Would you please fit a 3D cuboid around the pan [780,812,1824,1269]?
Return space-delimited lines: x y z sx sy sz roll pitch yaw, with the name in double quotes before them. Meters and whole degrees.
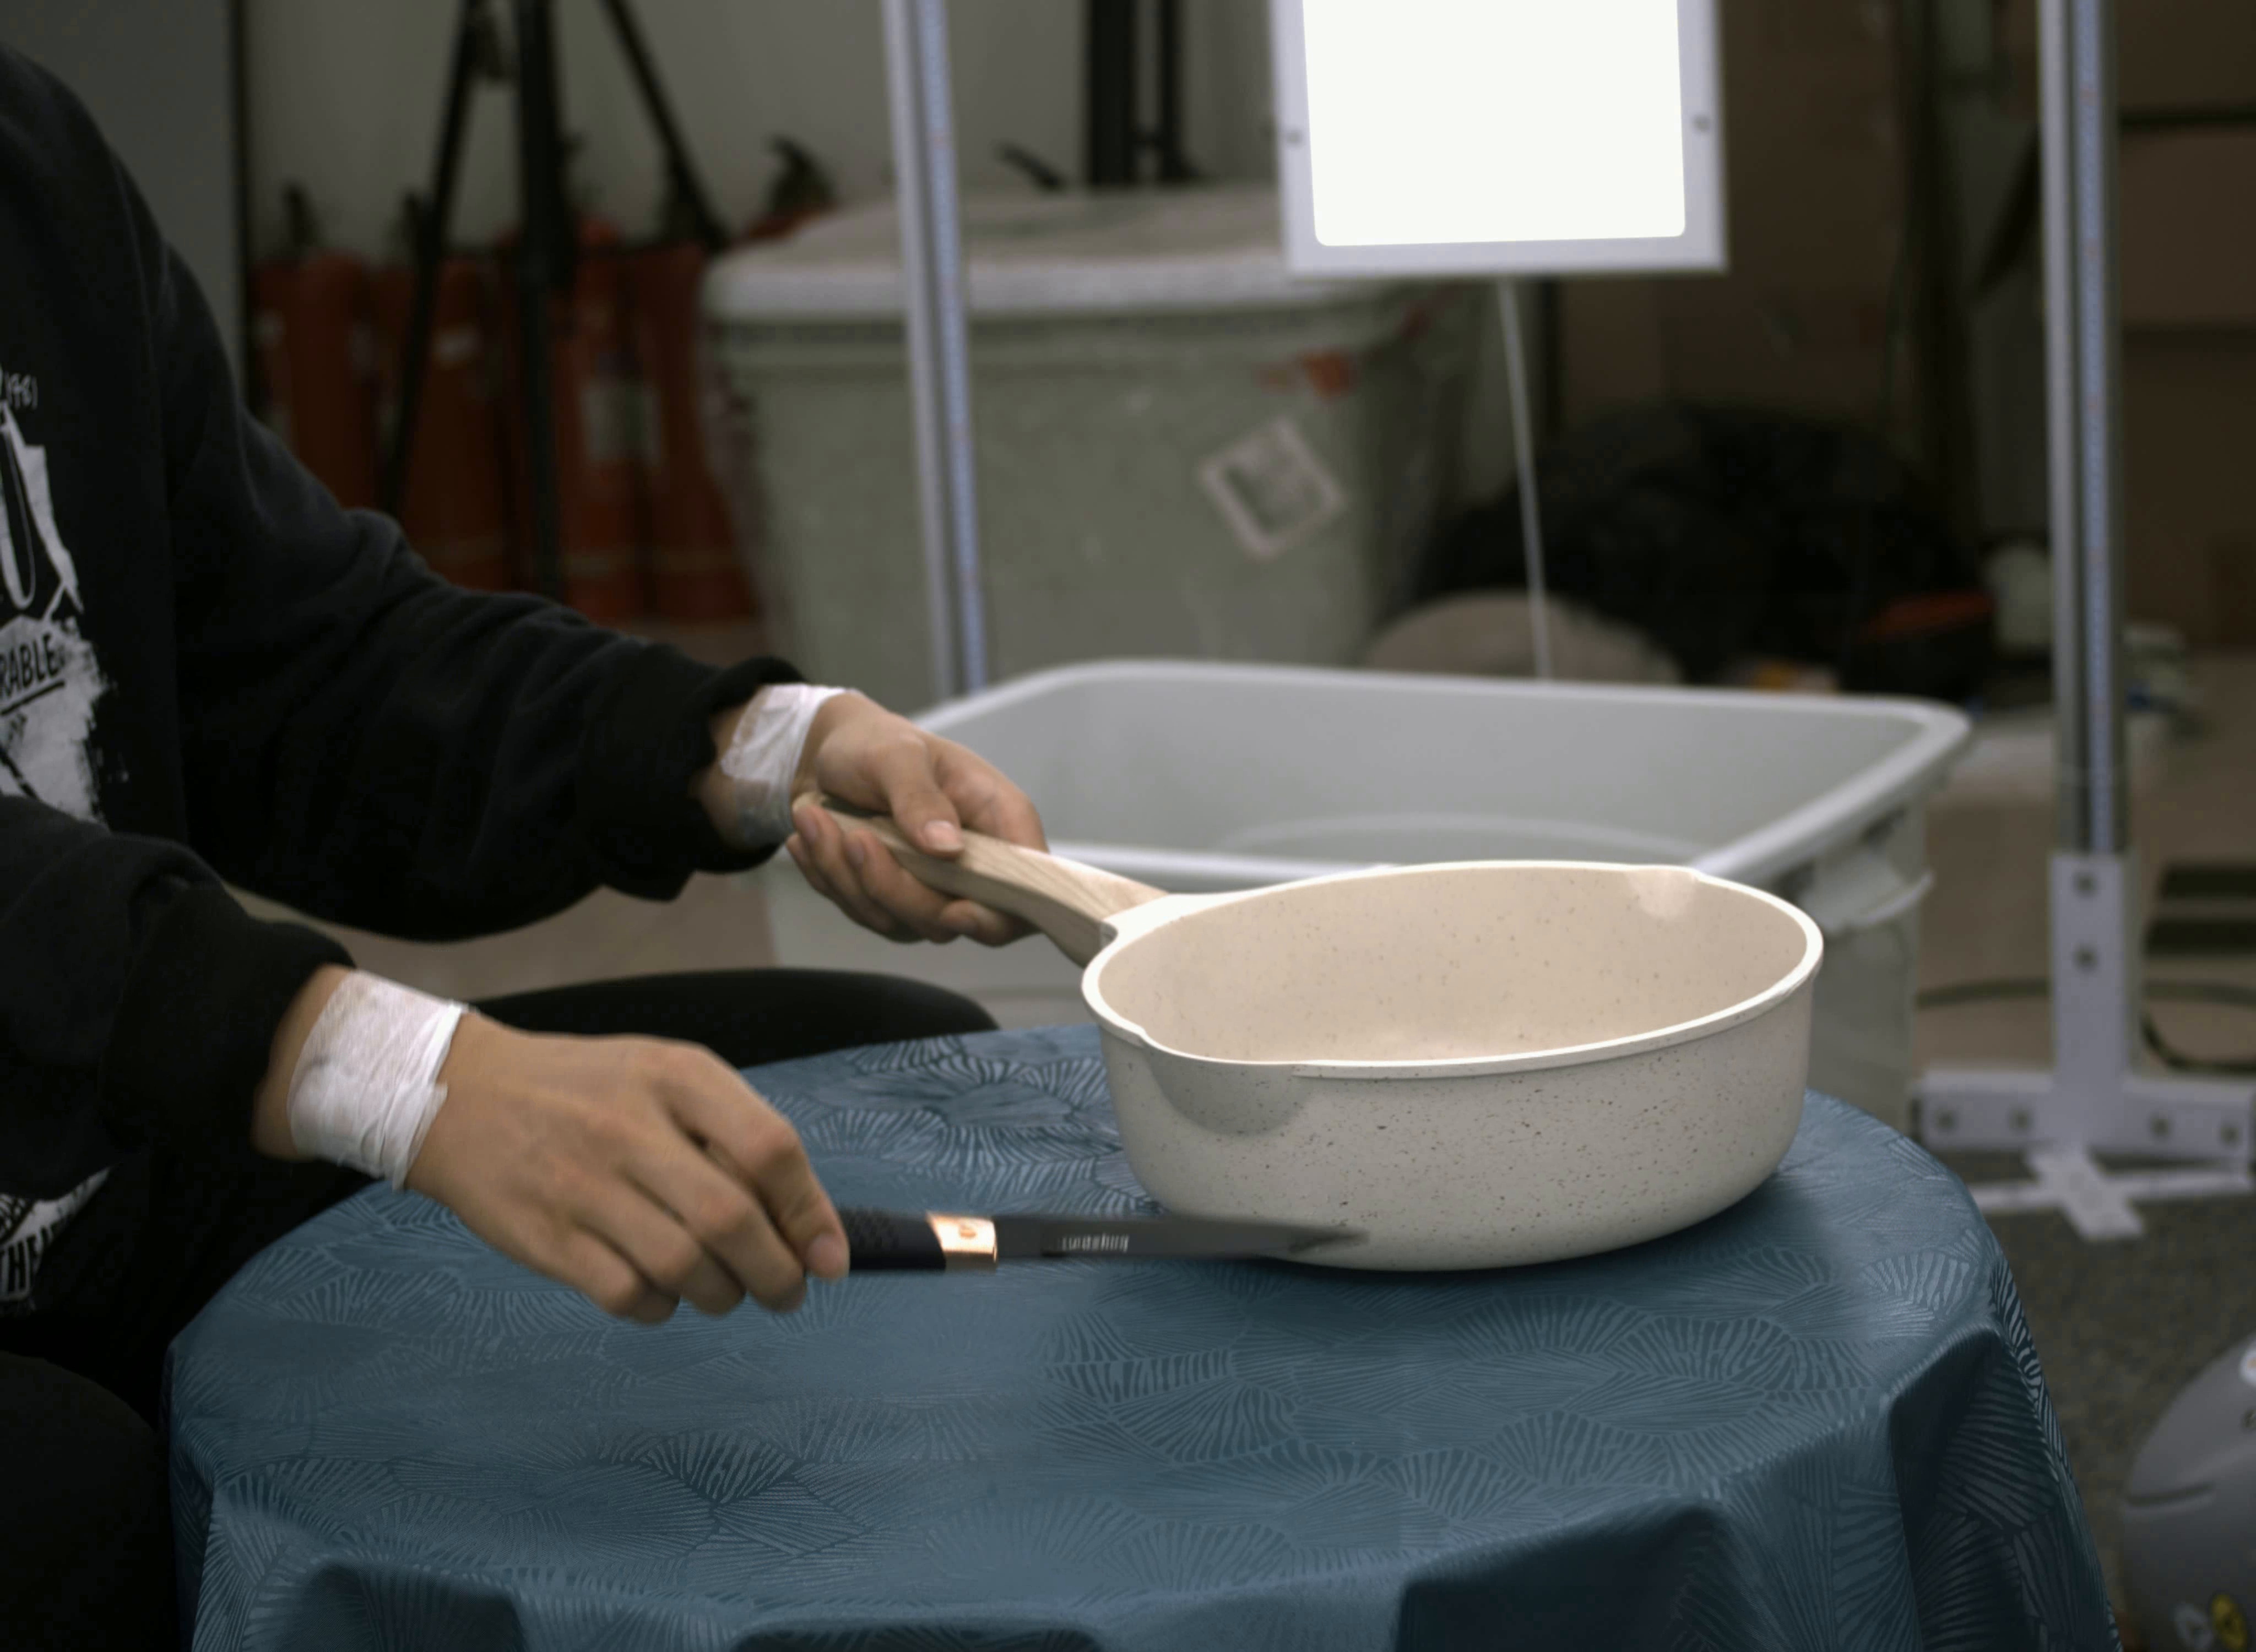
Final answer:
"pan" 0.044 0.065 1.928 0.444 0.102 0.257 7 20 42

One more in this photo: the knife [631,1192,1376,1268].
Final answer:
"knife" -0.036 0.120 1.654 0.225 0.017 0.026 -2 26 0
